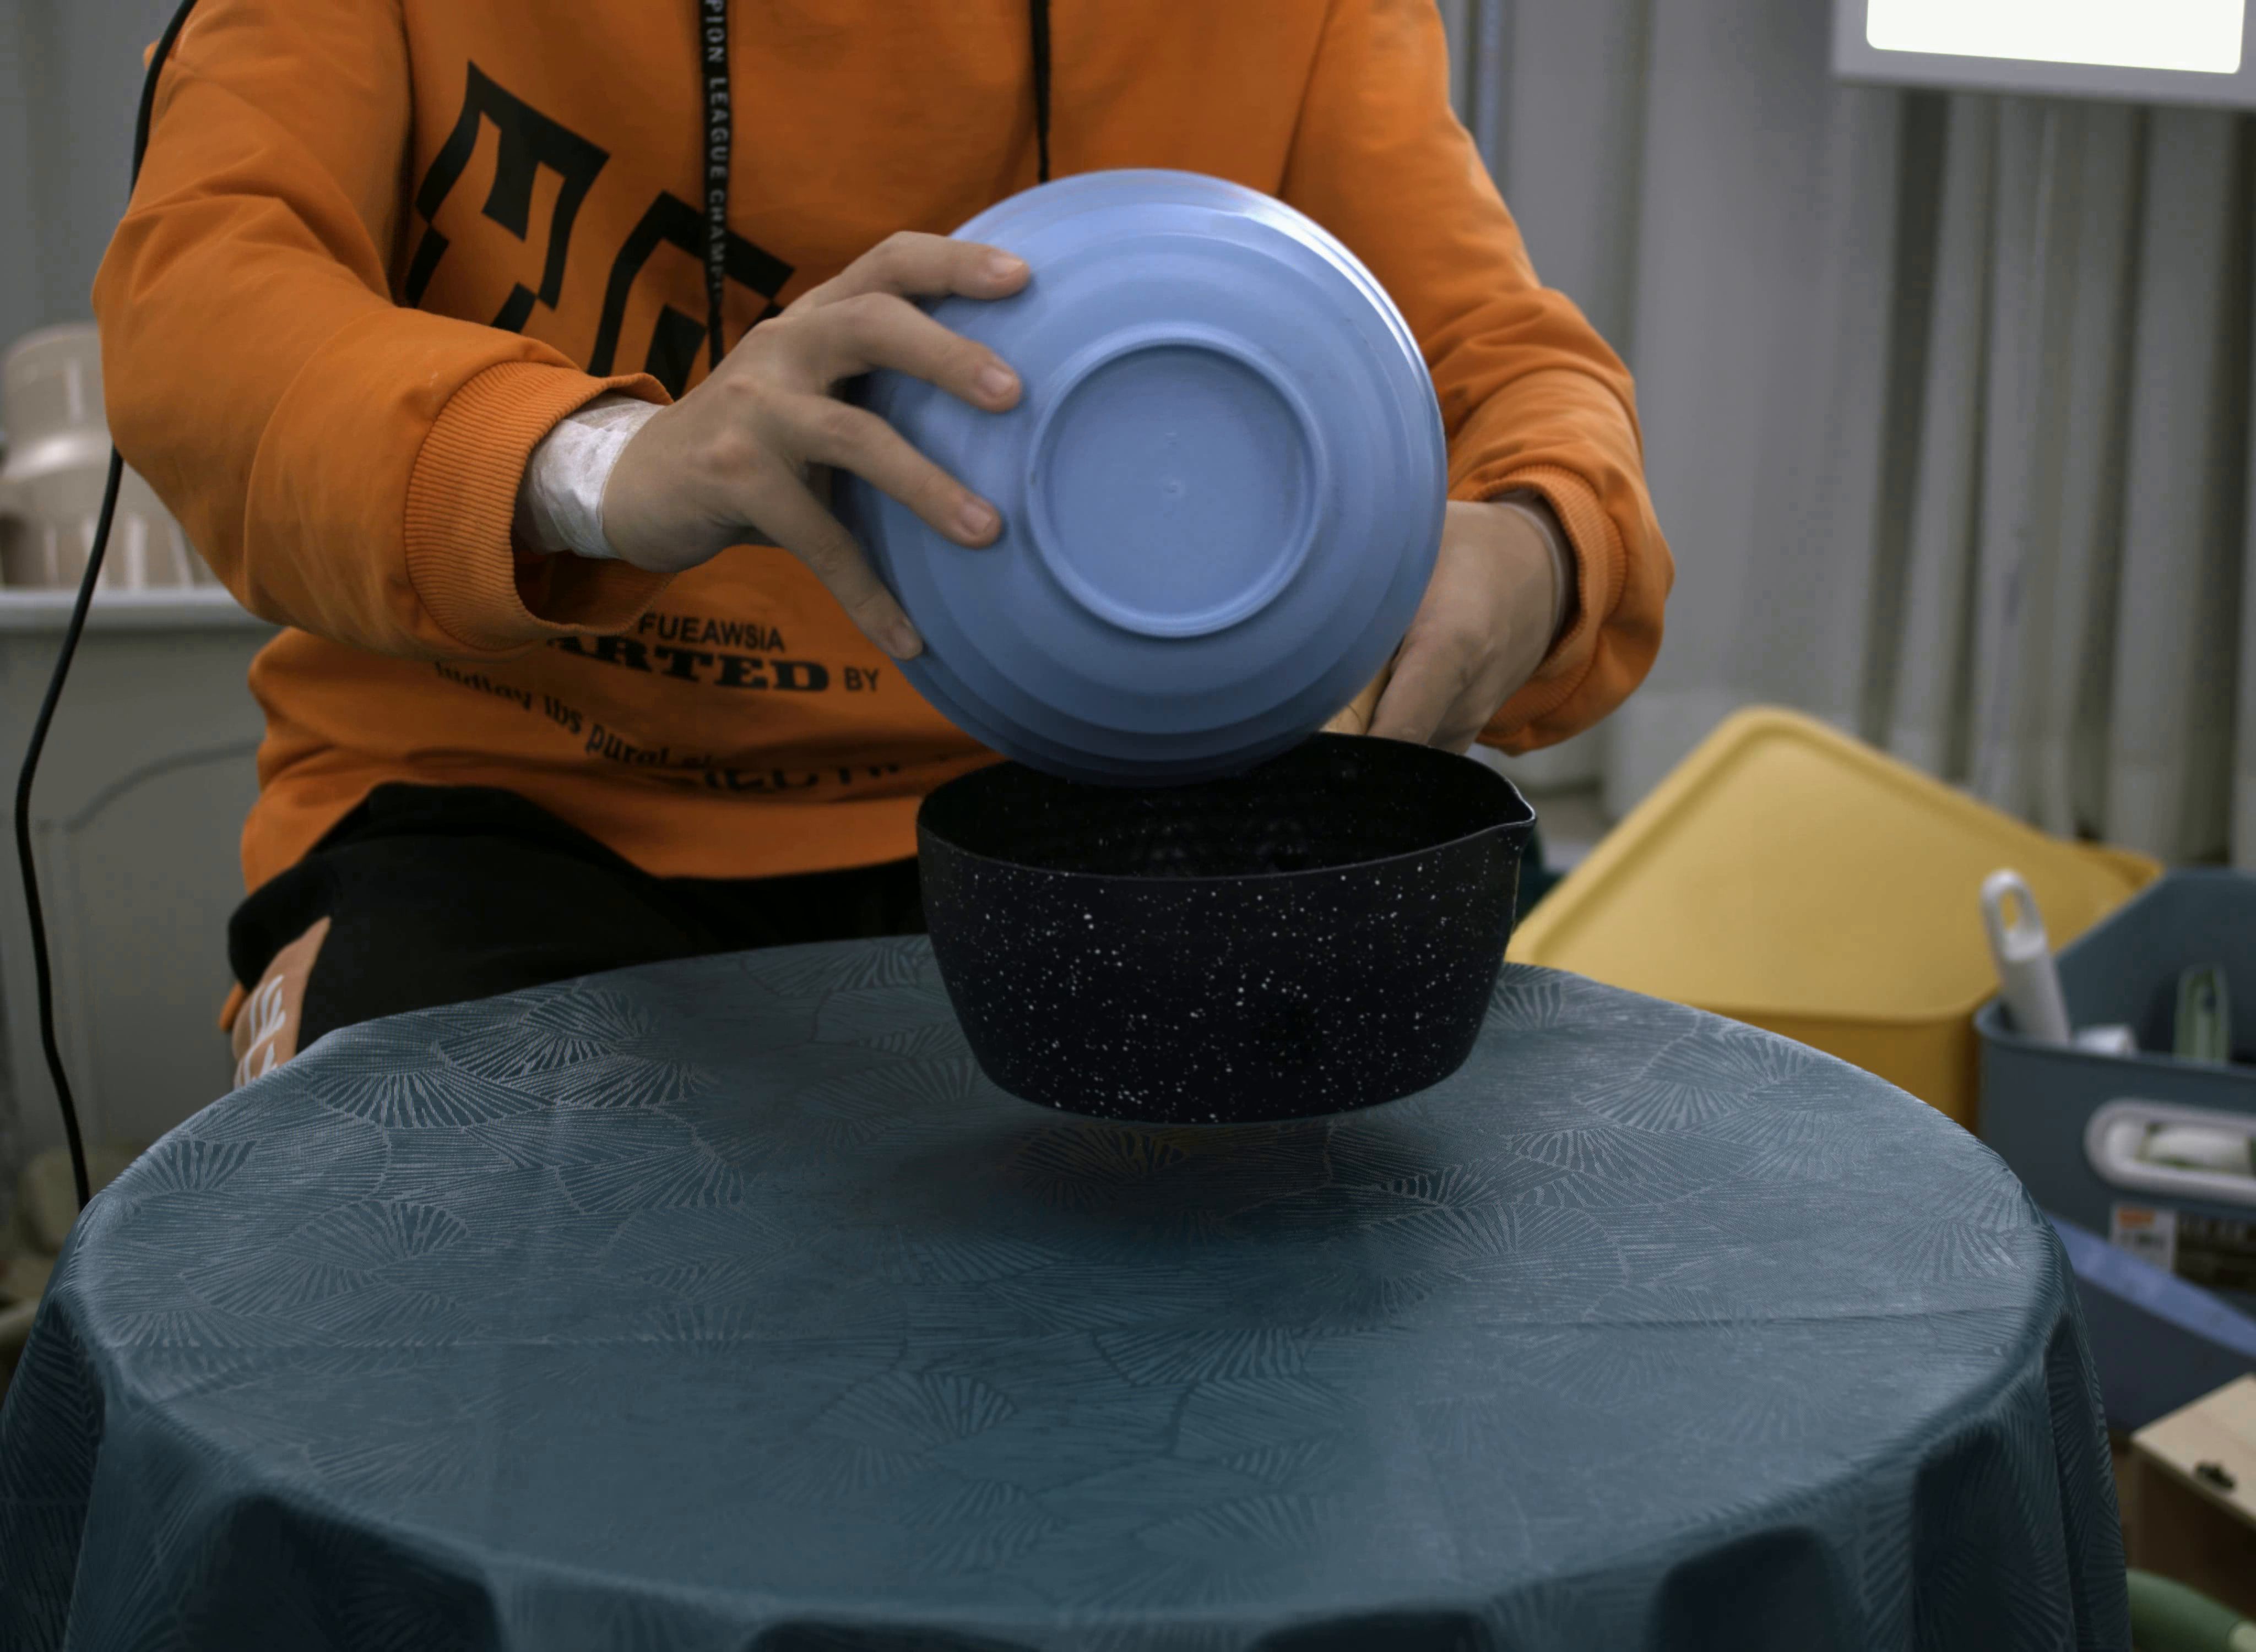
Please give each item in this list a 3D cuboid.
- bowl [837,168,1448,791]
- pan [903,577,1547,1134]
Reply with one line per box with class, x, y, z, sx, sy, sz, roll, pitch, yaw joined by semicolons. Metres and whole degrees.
bowl;0.011;-0.106;1.625;0.196;0.197;0.095;-1;5;-8
pan;0.048;0.001;1.694;0.206;0.109;0.342;1;16;15
